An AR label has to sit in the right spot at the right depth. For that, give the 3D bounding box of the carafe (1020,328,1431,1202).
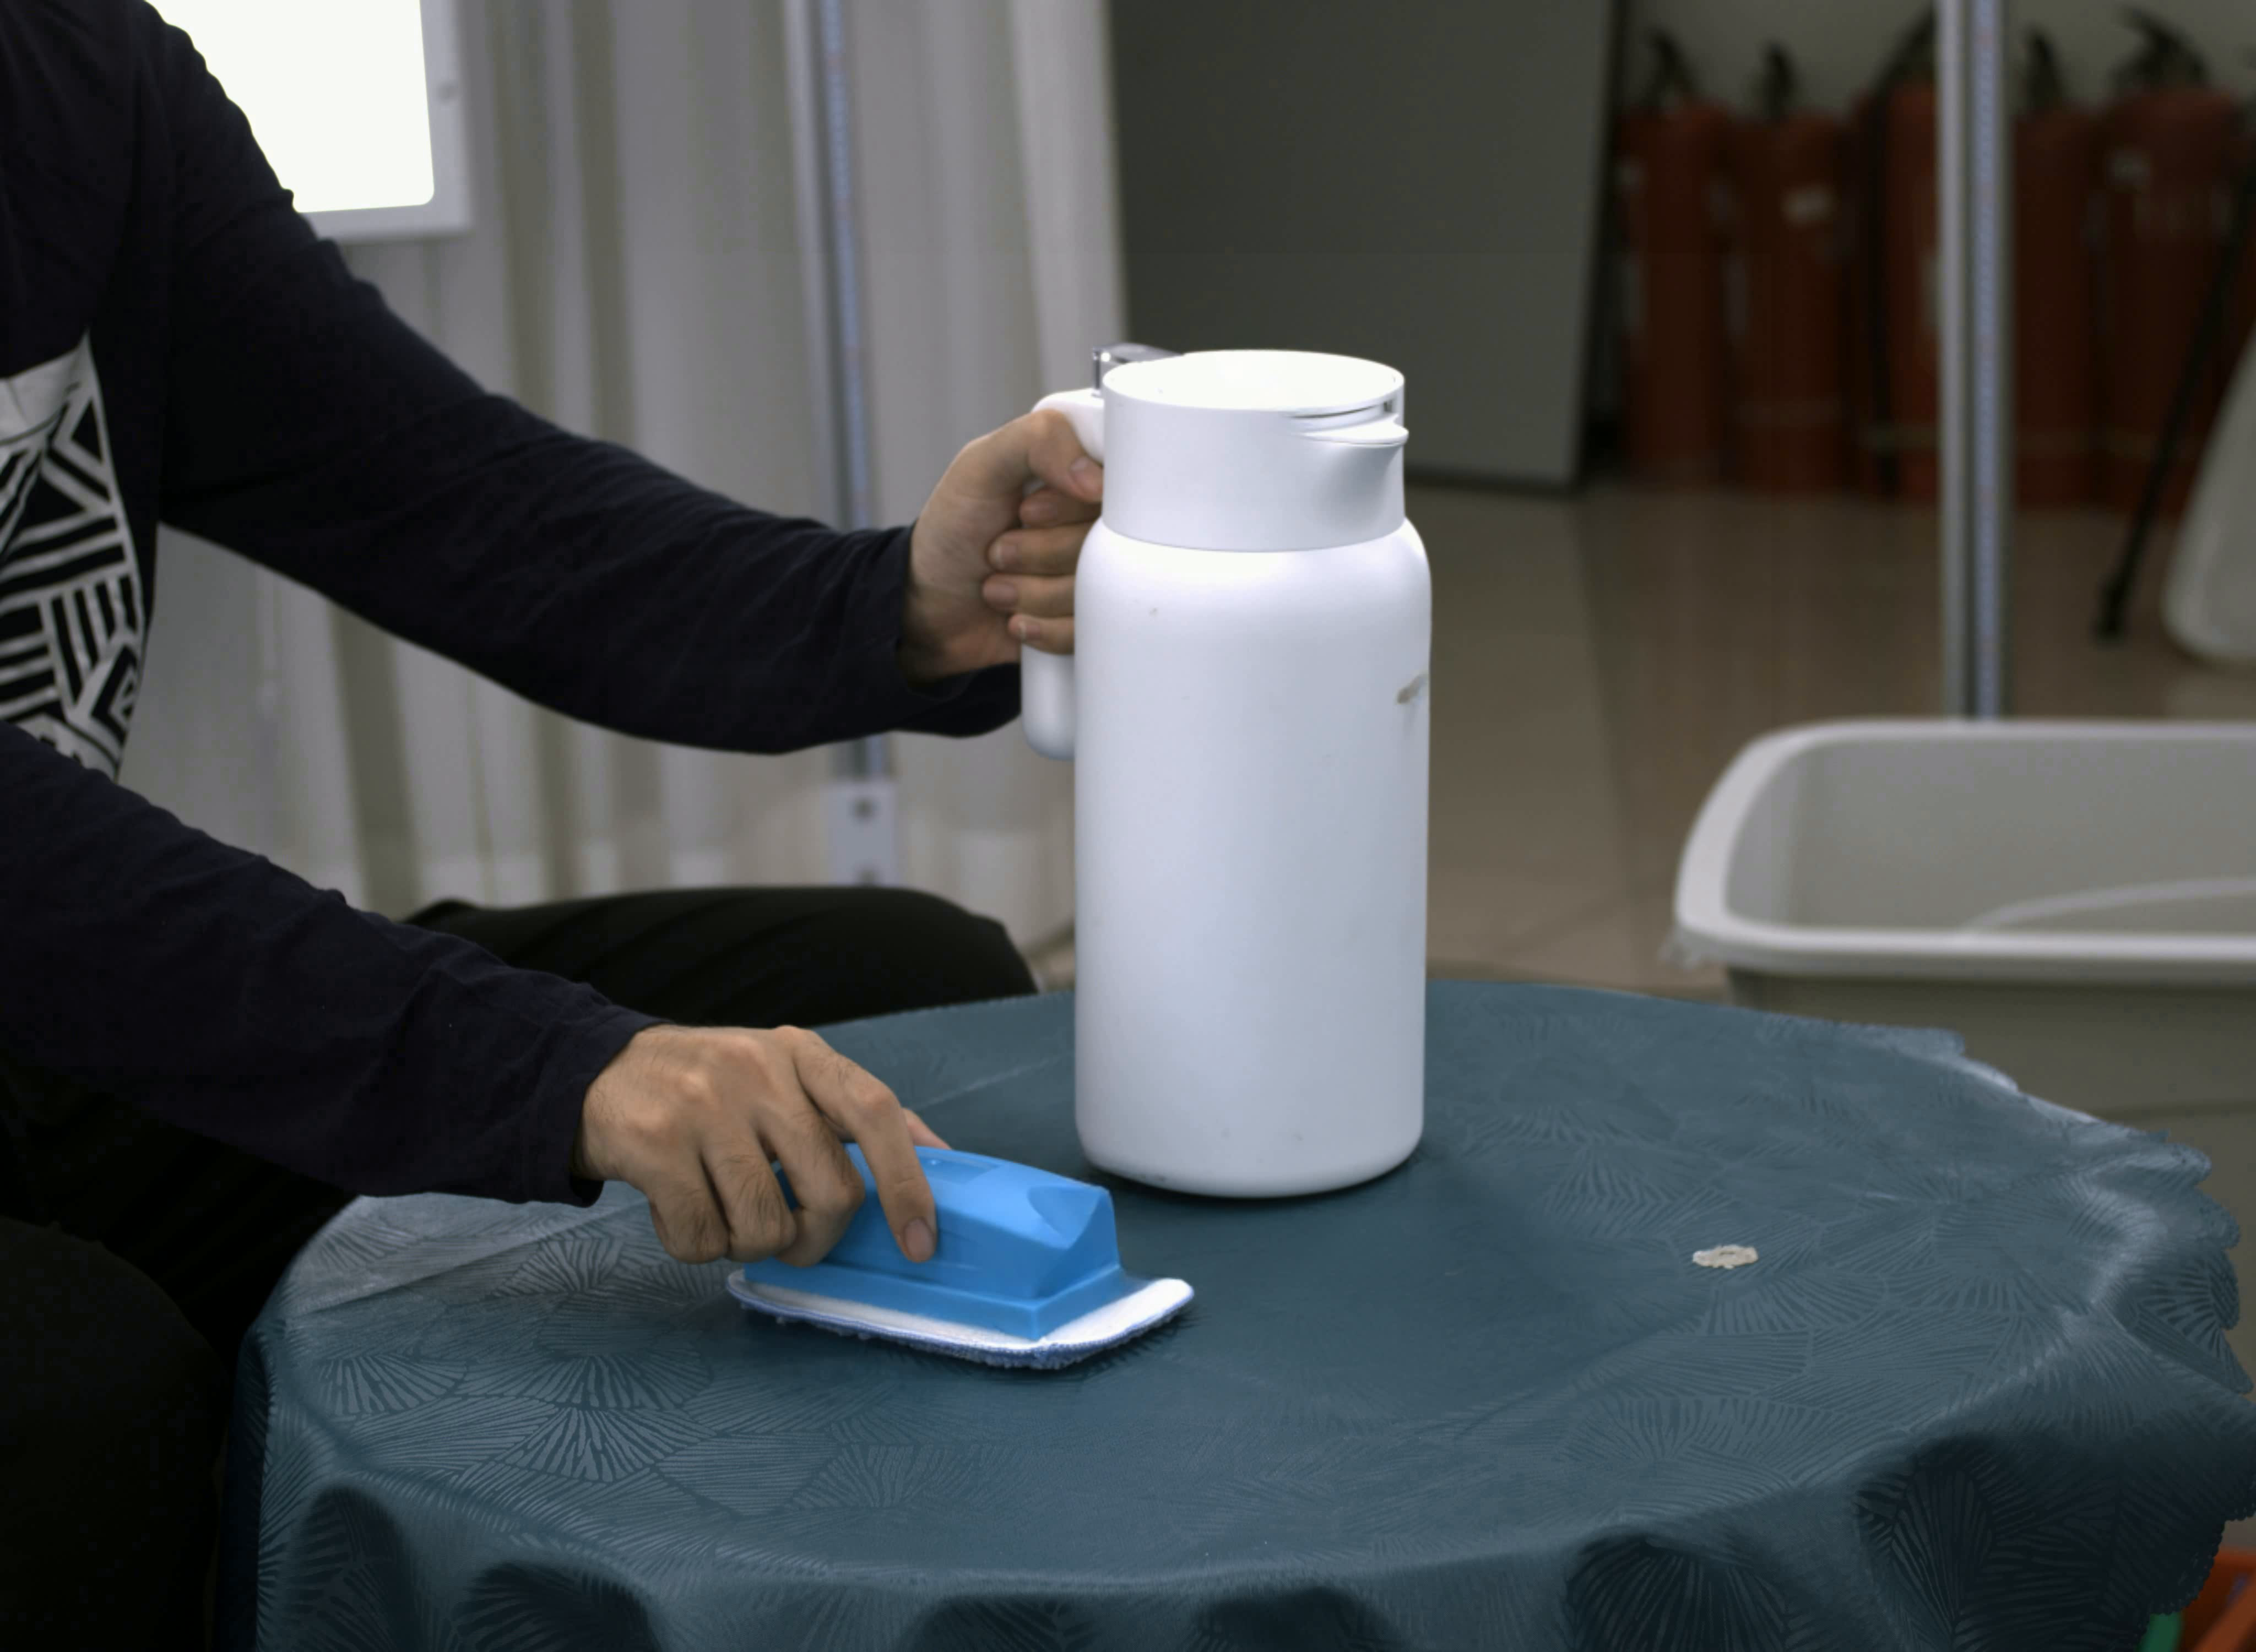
[{"bbox_3d":[0.028,-0.023,1.777,0.121,0.272,0.174,-15,20,-39],"label":"carafe"}]

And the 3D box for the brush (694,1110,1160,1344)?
[{"bbox_3d":[-0.061,0.122,1.660,0.145,0.056,0.082,12,16,39],"label":"brush"}]
